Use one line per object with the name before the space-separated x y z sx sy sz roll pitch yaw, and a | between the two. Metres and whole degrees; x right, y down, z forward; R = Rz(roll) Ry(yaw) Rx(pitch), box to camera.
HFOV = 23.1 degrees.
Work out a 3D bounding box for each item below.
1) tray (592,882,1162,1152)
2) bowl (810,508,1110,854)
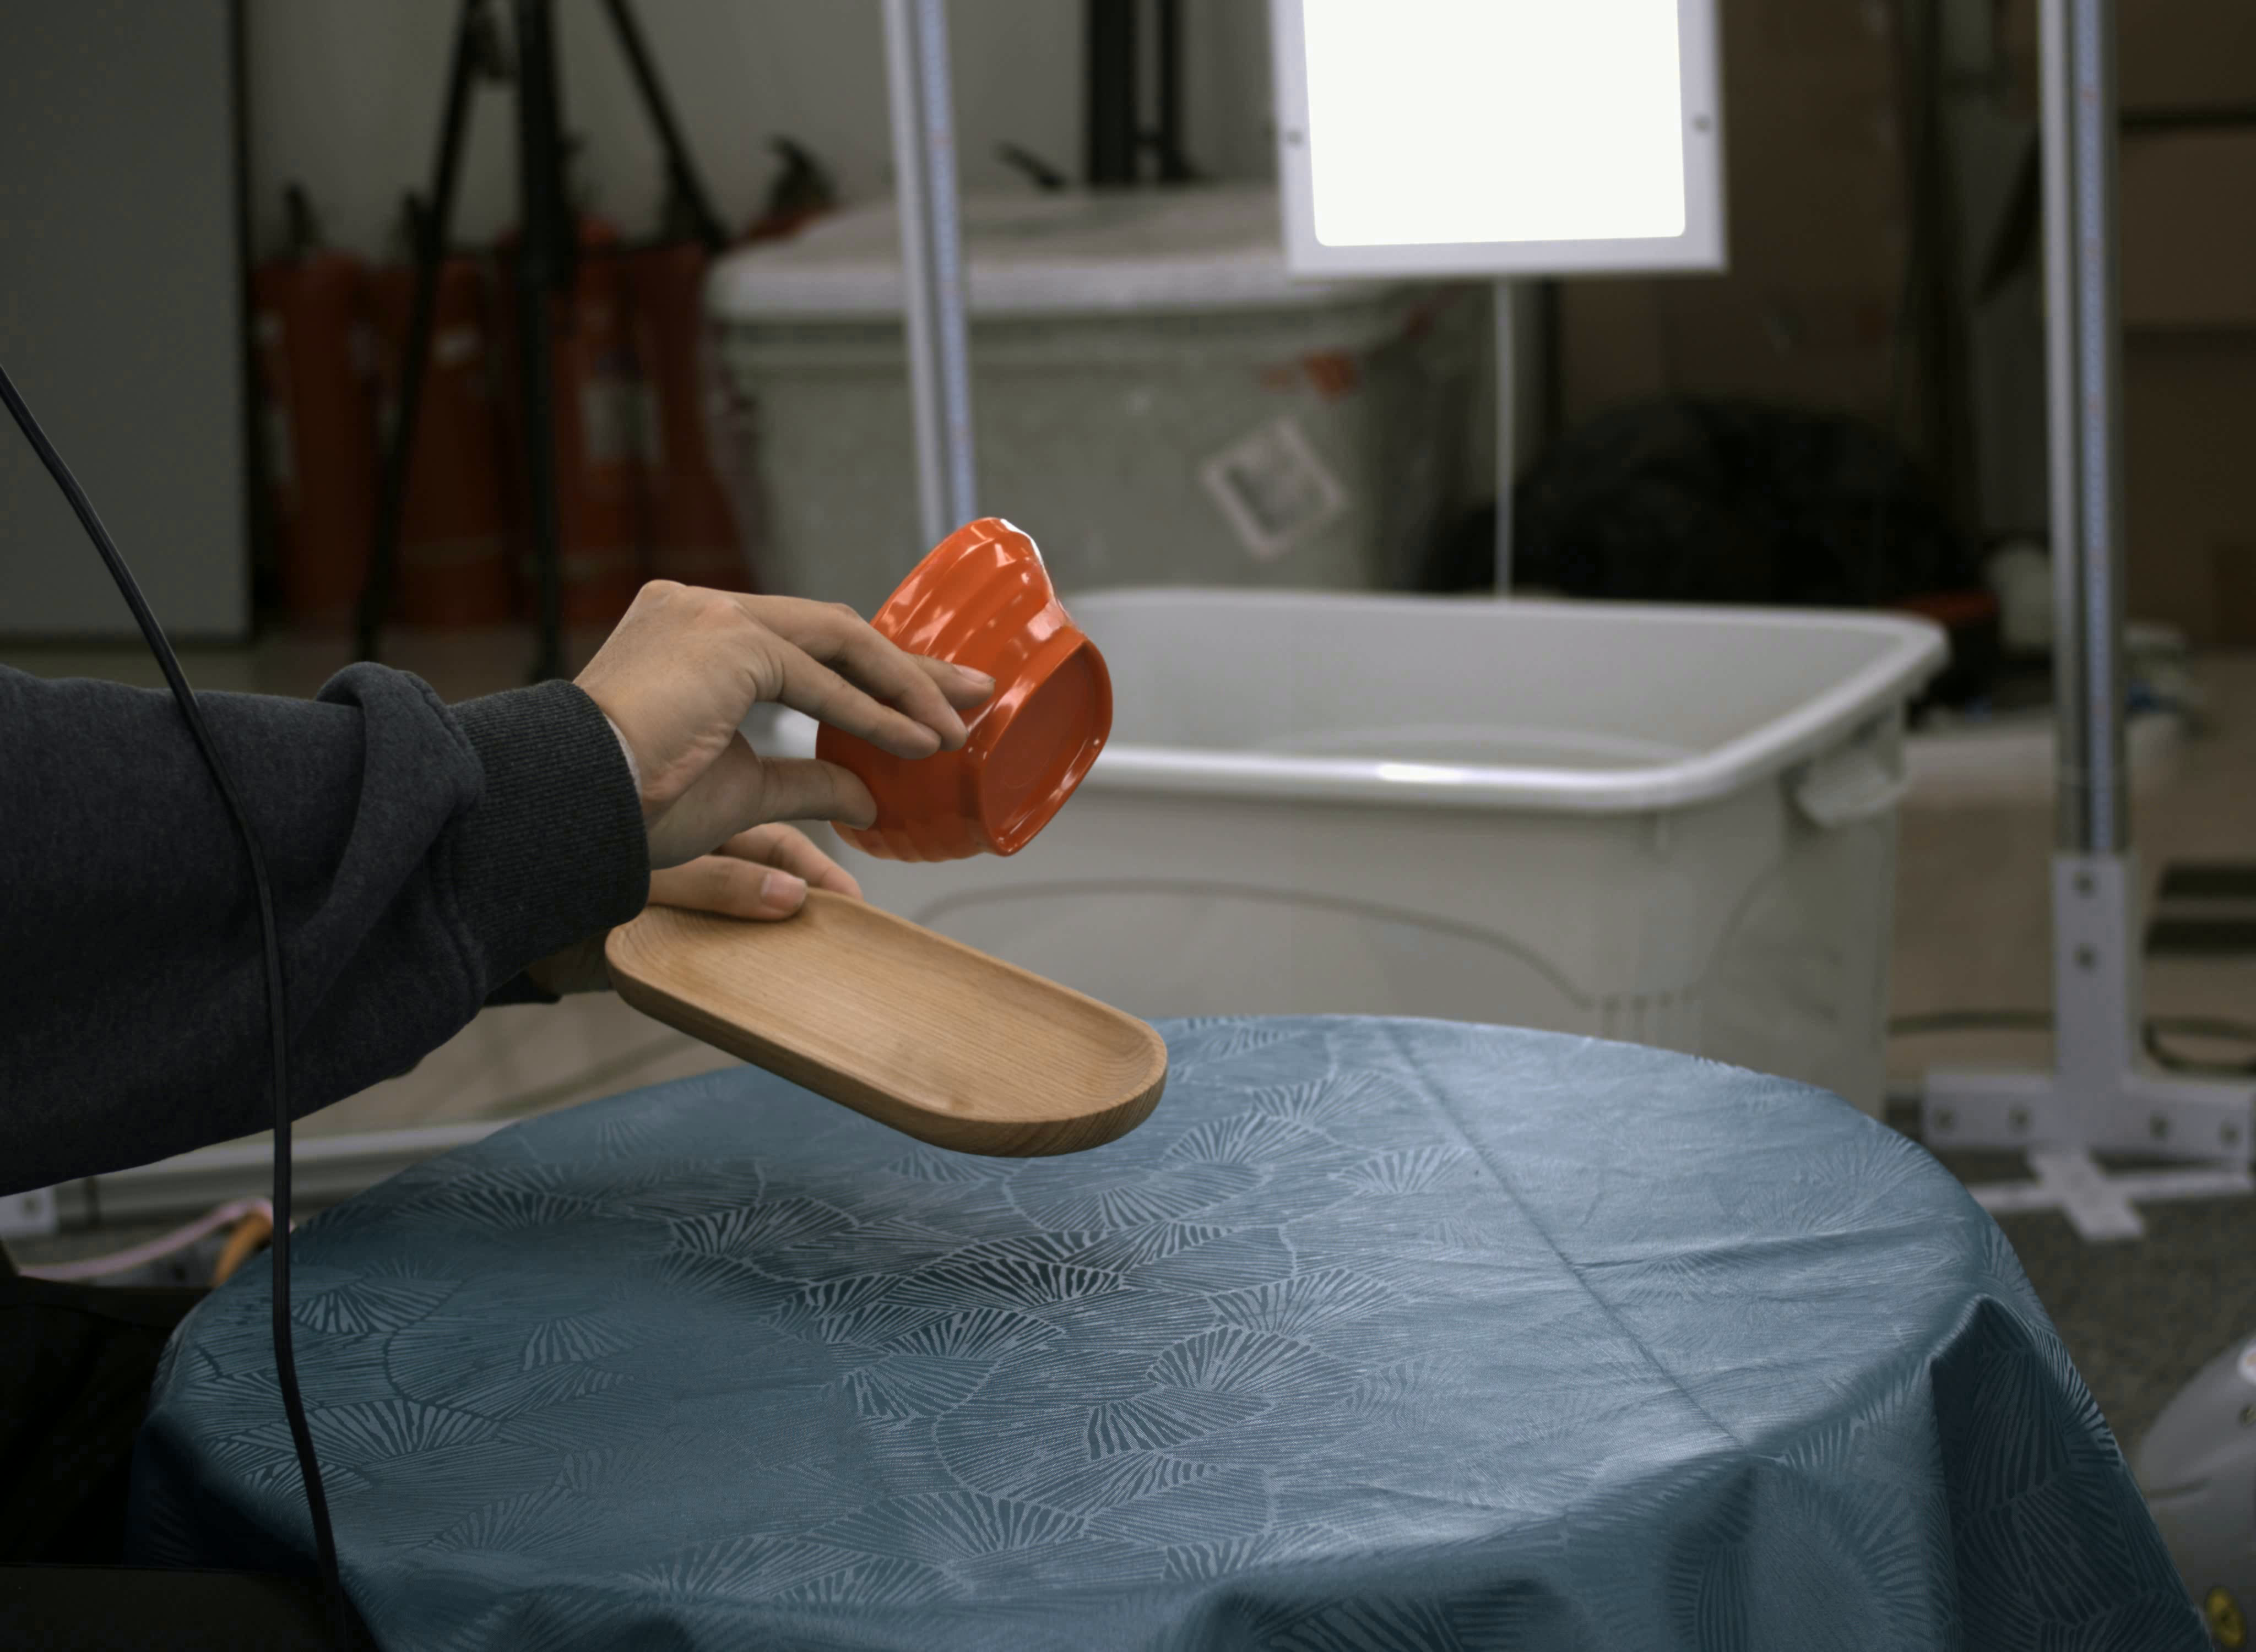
tray | -0.086 0.063 1.849 0.099 0.020 0.236 -20 28 -41
bowl | -0.046 -0.037 1.745 0.052 0.120 0.116 32 30 24
